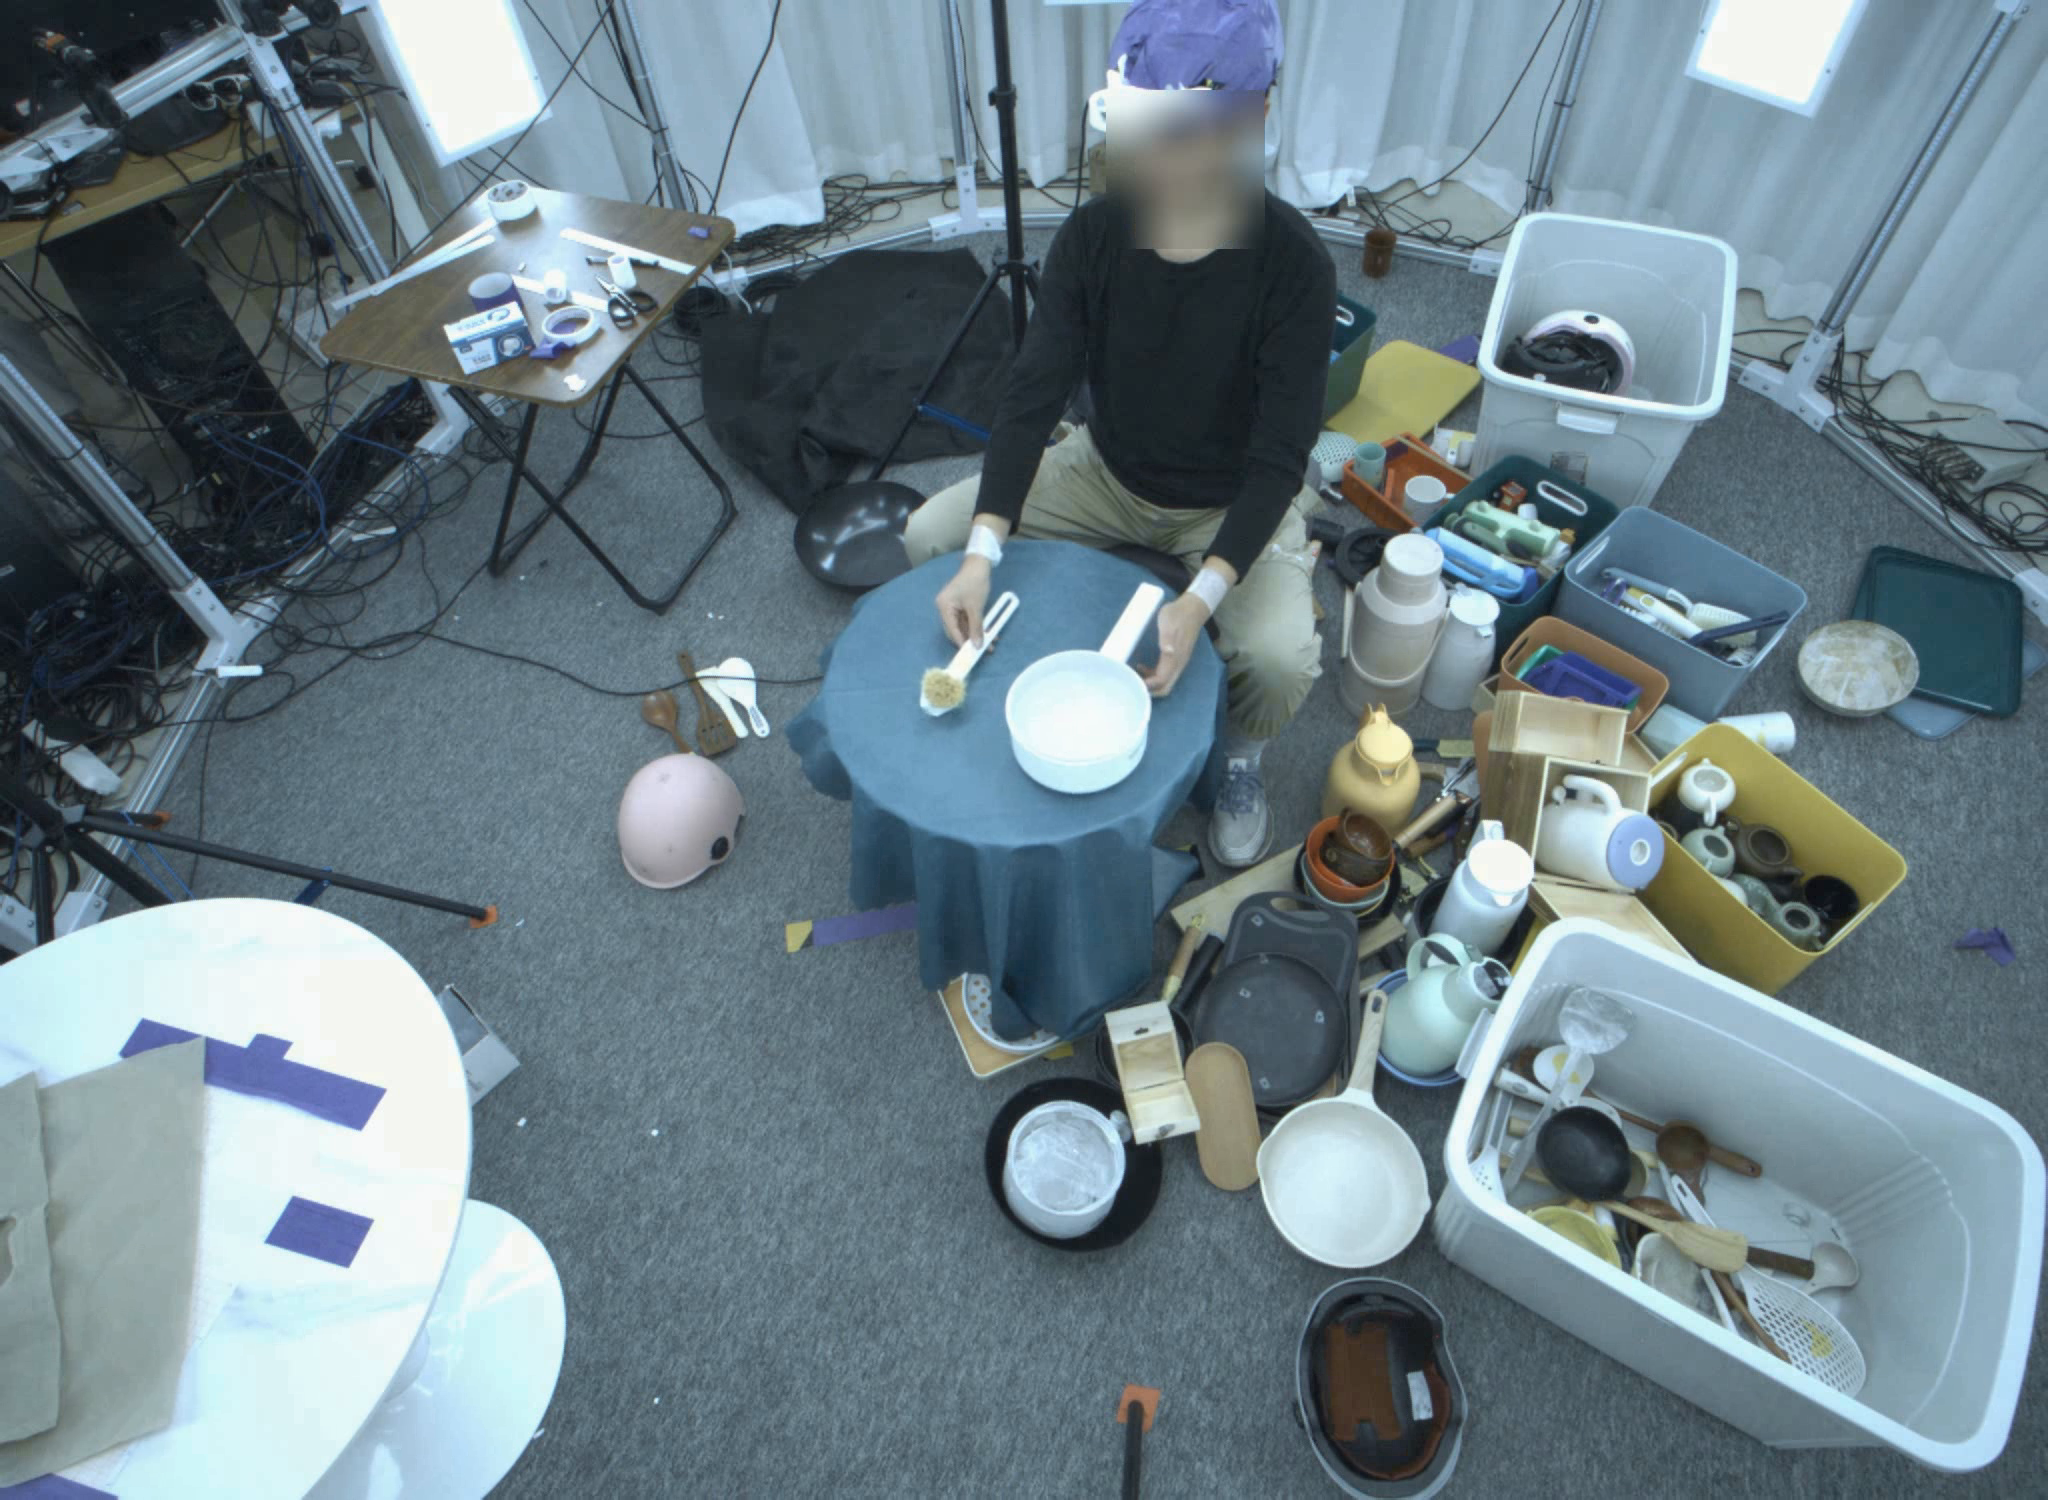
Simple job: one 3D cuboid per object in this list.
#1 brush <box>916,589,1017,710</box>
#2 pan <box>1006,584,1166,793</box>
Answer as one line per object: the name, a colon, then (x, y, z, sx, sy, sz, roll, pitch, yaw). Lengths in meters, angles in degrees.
brush: (-0.077, -0.164, 1.863, 0.069, 0.055, 0.267, 40, 60, -9)
pan: (0.114, -0.090, 1.789, 0.198, 0.103, 0.355, 21, 58, 18)
